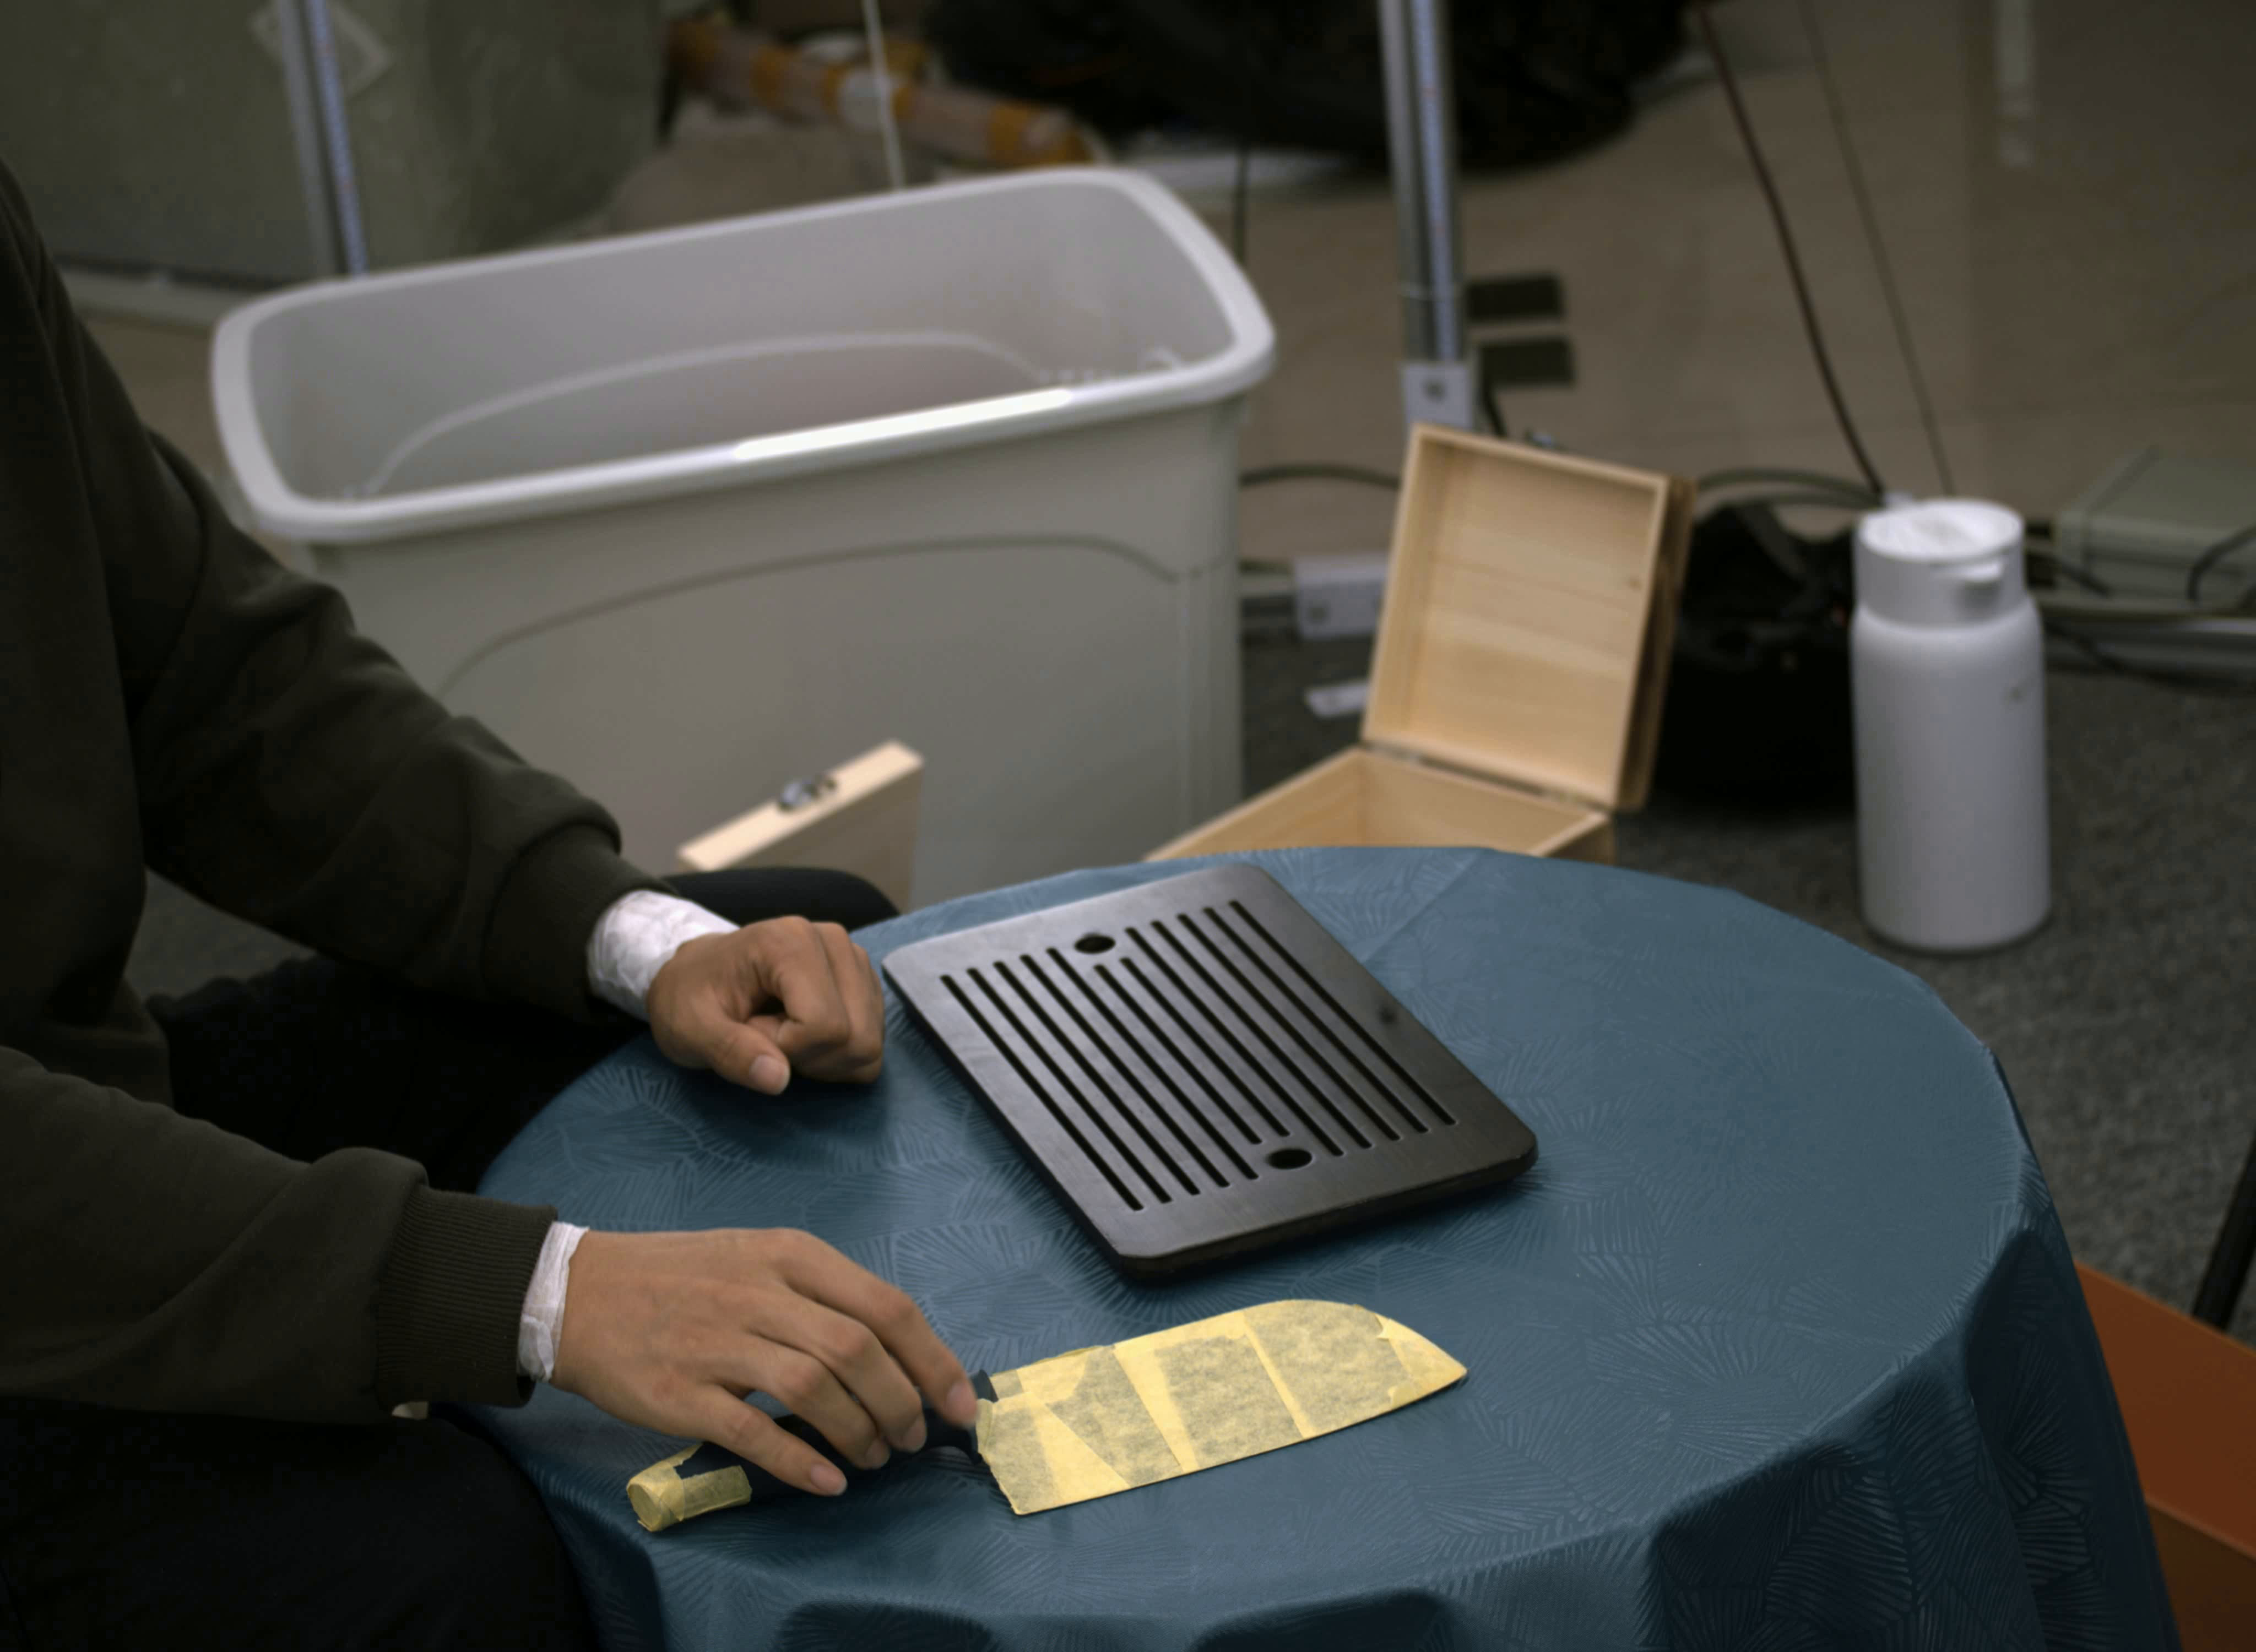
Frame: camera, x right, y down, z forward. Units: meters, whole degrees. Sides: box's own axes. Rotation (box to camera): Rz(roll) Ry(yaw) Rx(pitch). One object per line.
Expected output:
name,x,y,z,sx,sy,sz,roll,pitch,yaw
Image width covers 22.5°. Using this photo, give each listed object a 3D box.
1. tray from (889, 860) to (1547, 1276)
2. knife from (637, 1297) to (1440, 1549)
tray,0.030,0.092,2.223,0.169,0.019,0.302,-15,26,-16
knife,-0.028,0.212,1.983,0.289,0.028,0.080,-13,34,-11
